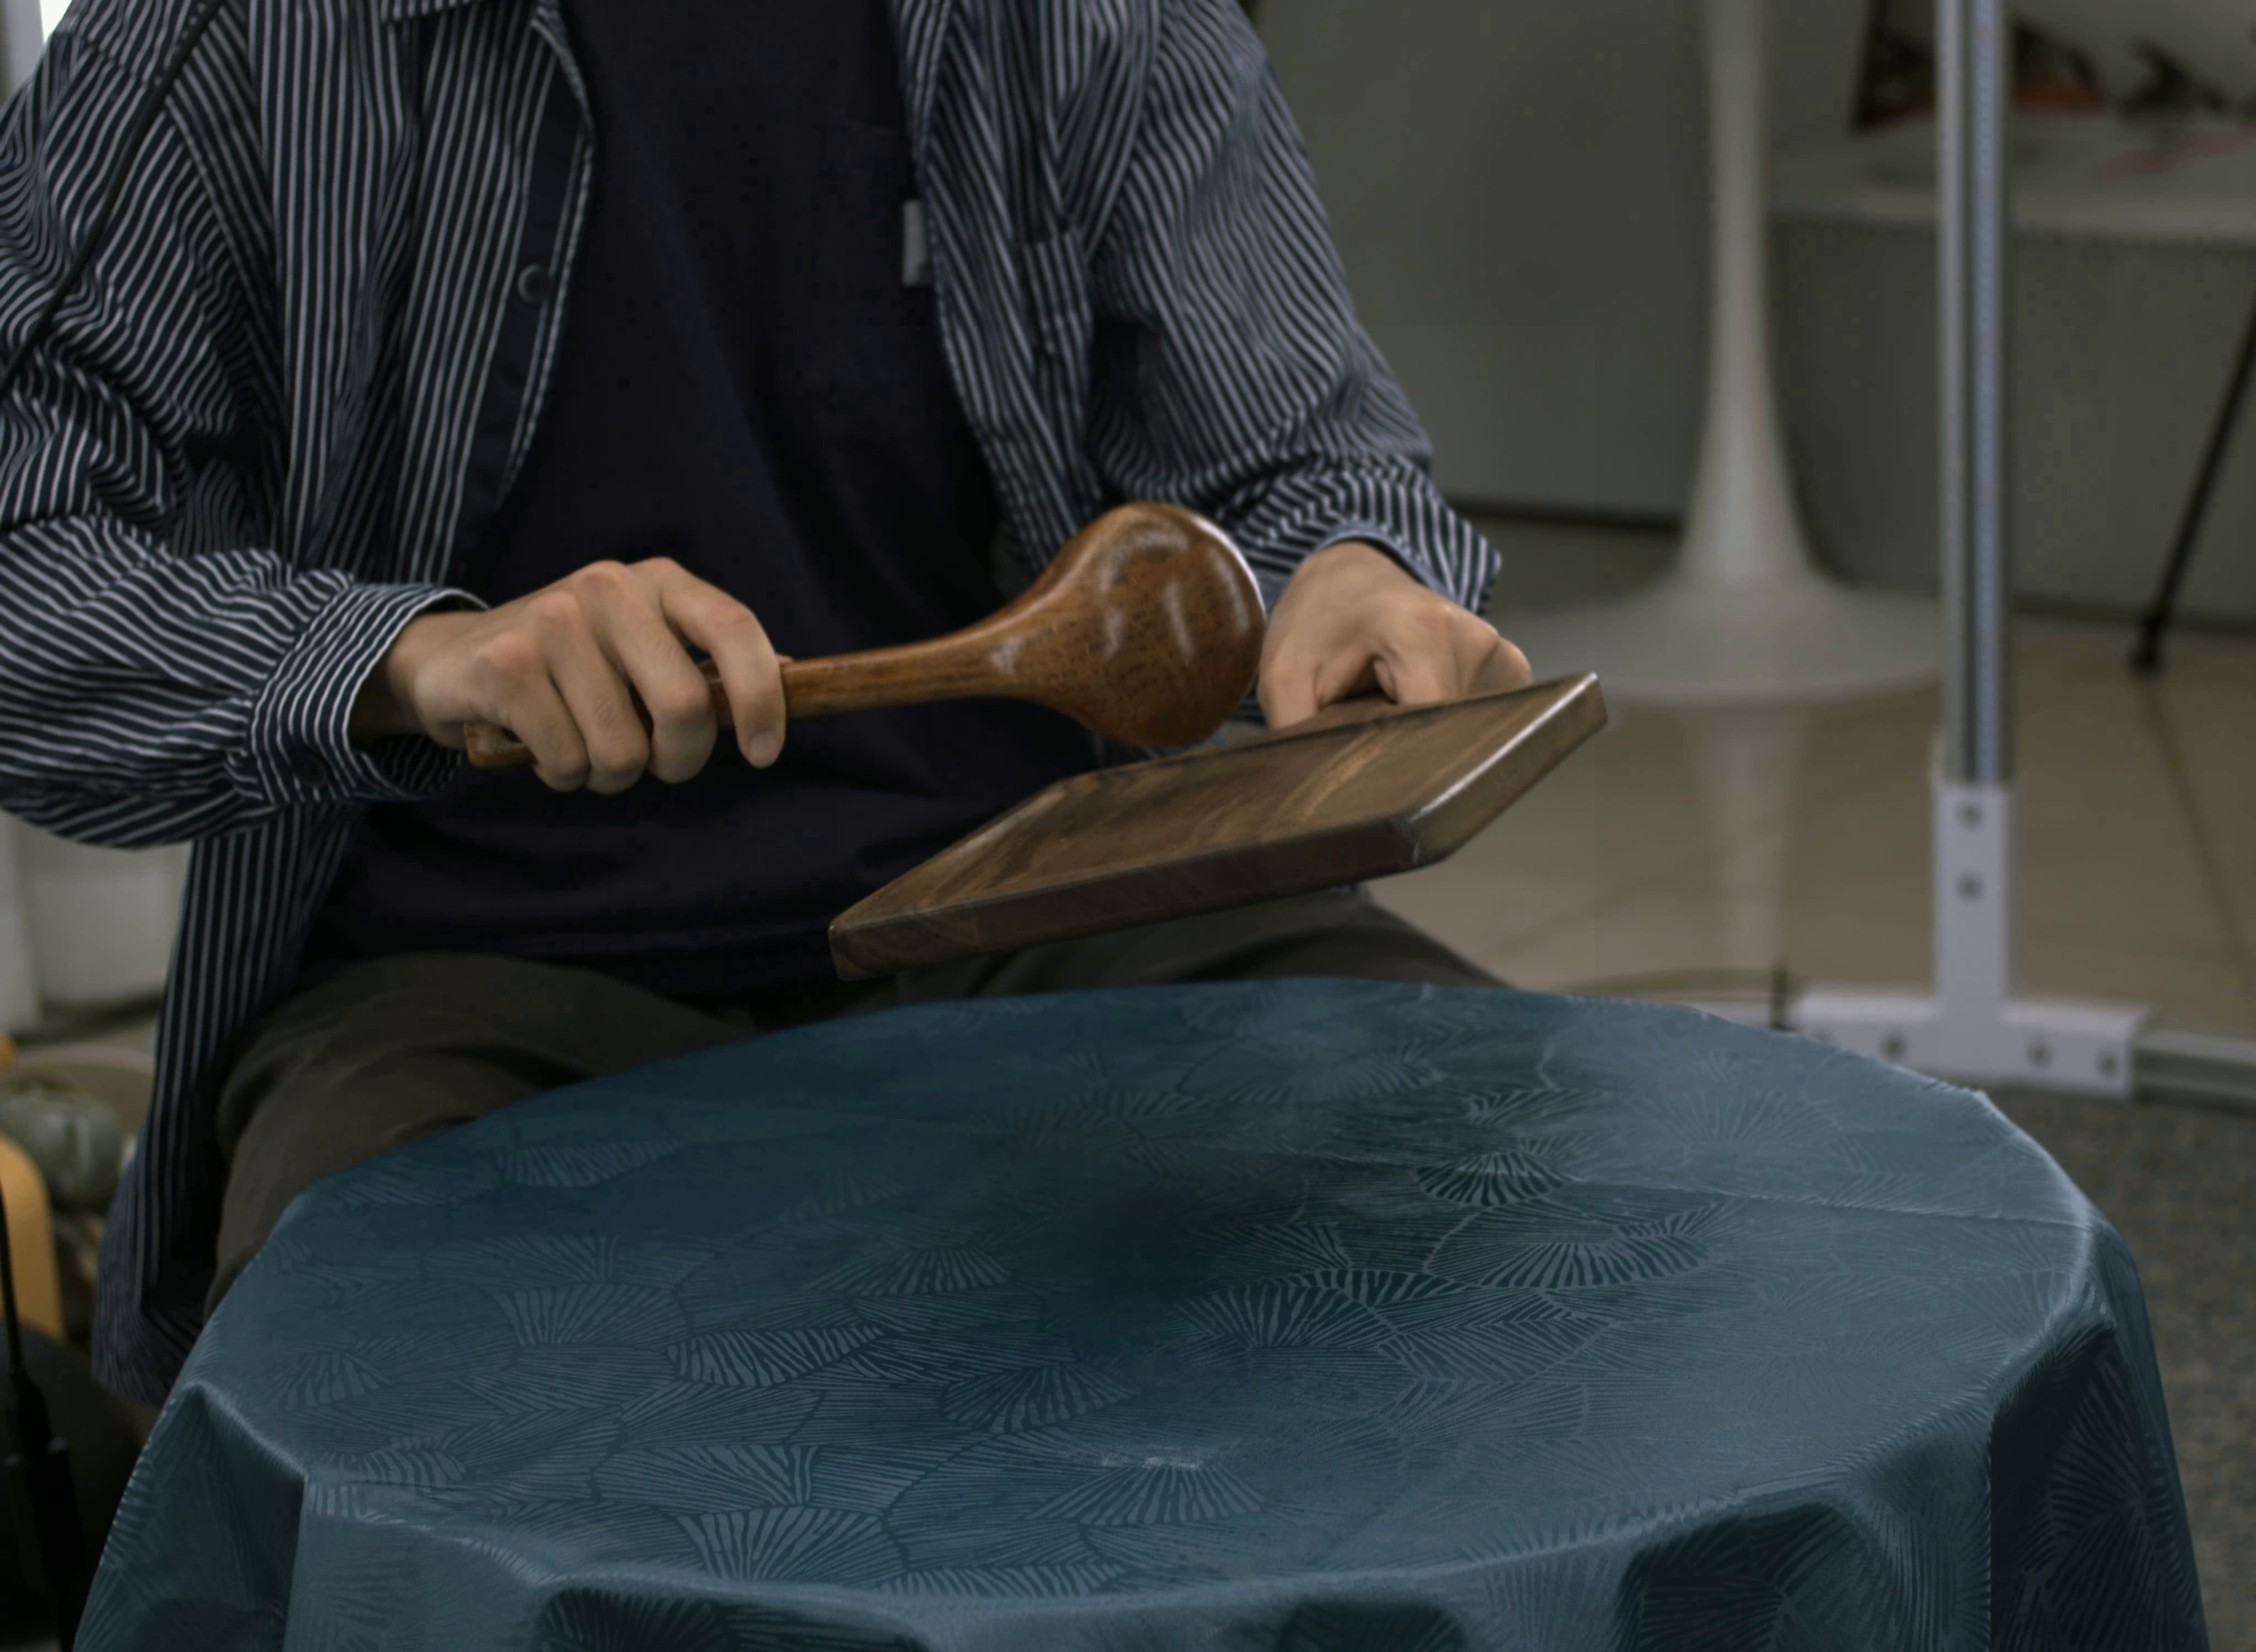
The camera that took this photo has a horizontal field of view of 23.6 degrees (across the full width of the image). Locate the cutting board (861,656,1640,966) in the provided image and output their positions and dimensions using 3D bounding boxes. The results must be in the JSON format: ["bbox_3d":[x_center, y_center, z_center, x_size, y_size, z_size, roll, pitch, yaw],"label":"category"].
[{"bbox_3d":[0.058,-0.015,1.732,0.201,0.023,0.349,-12,6,19],"label":"cutting board"}]

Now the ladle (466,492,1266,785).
[{"bbox_3d":[-0.087,-0.052,1.808,0.274,0.083,0.075,-10,0,23],"label":"ladle"}]
